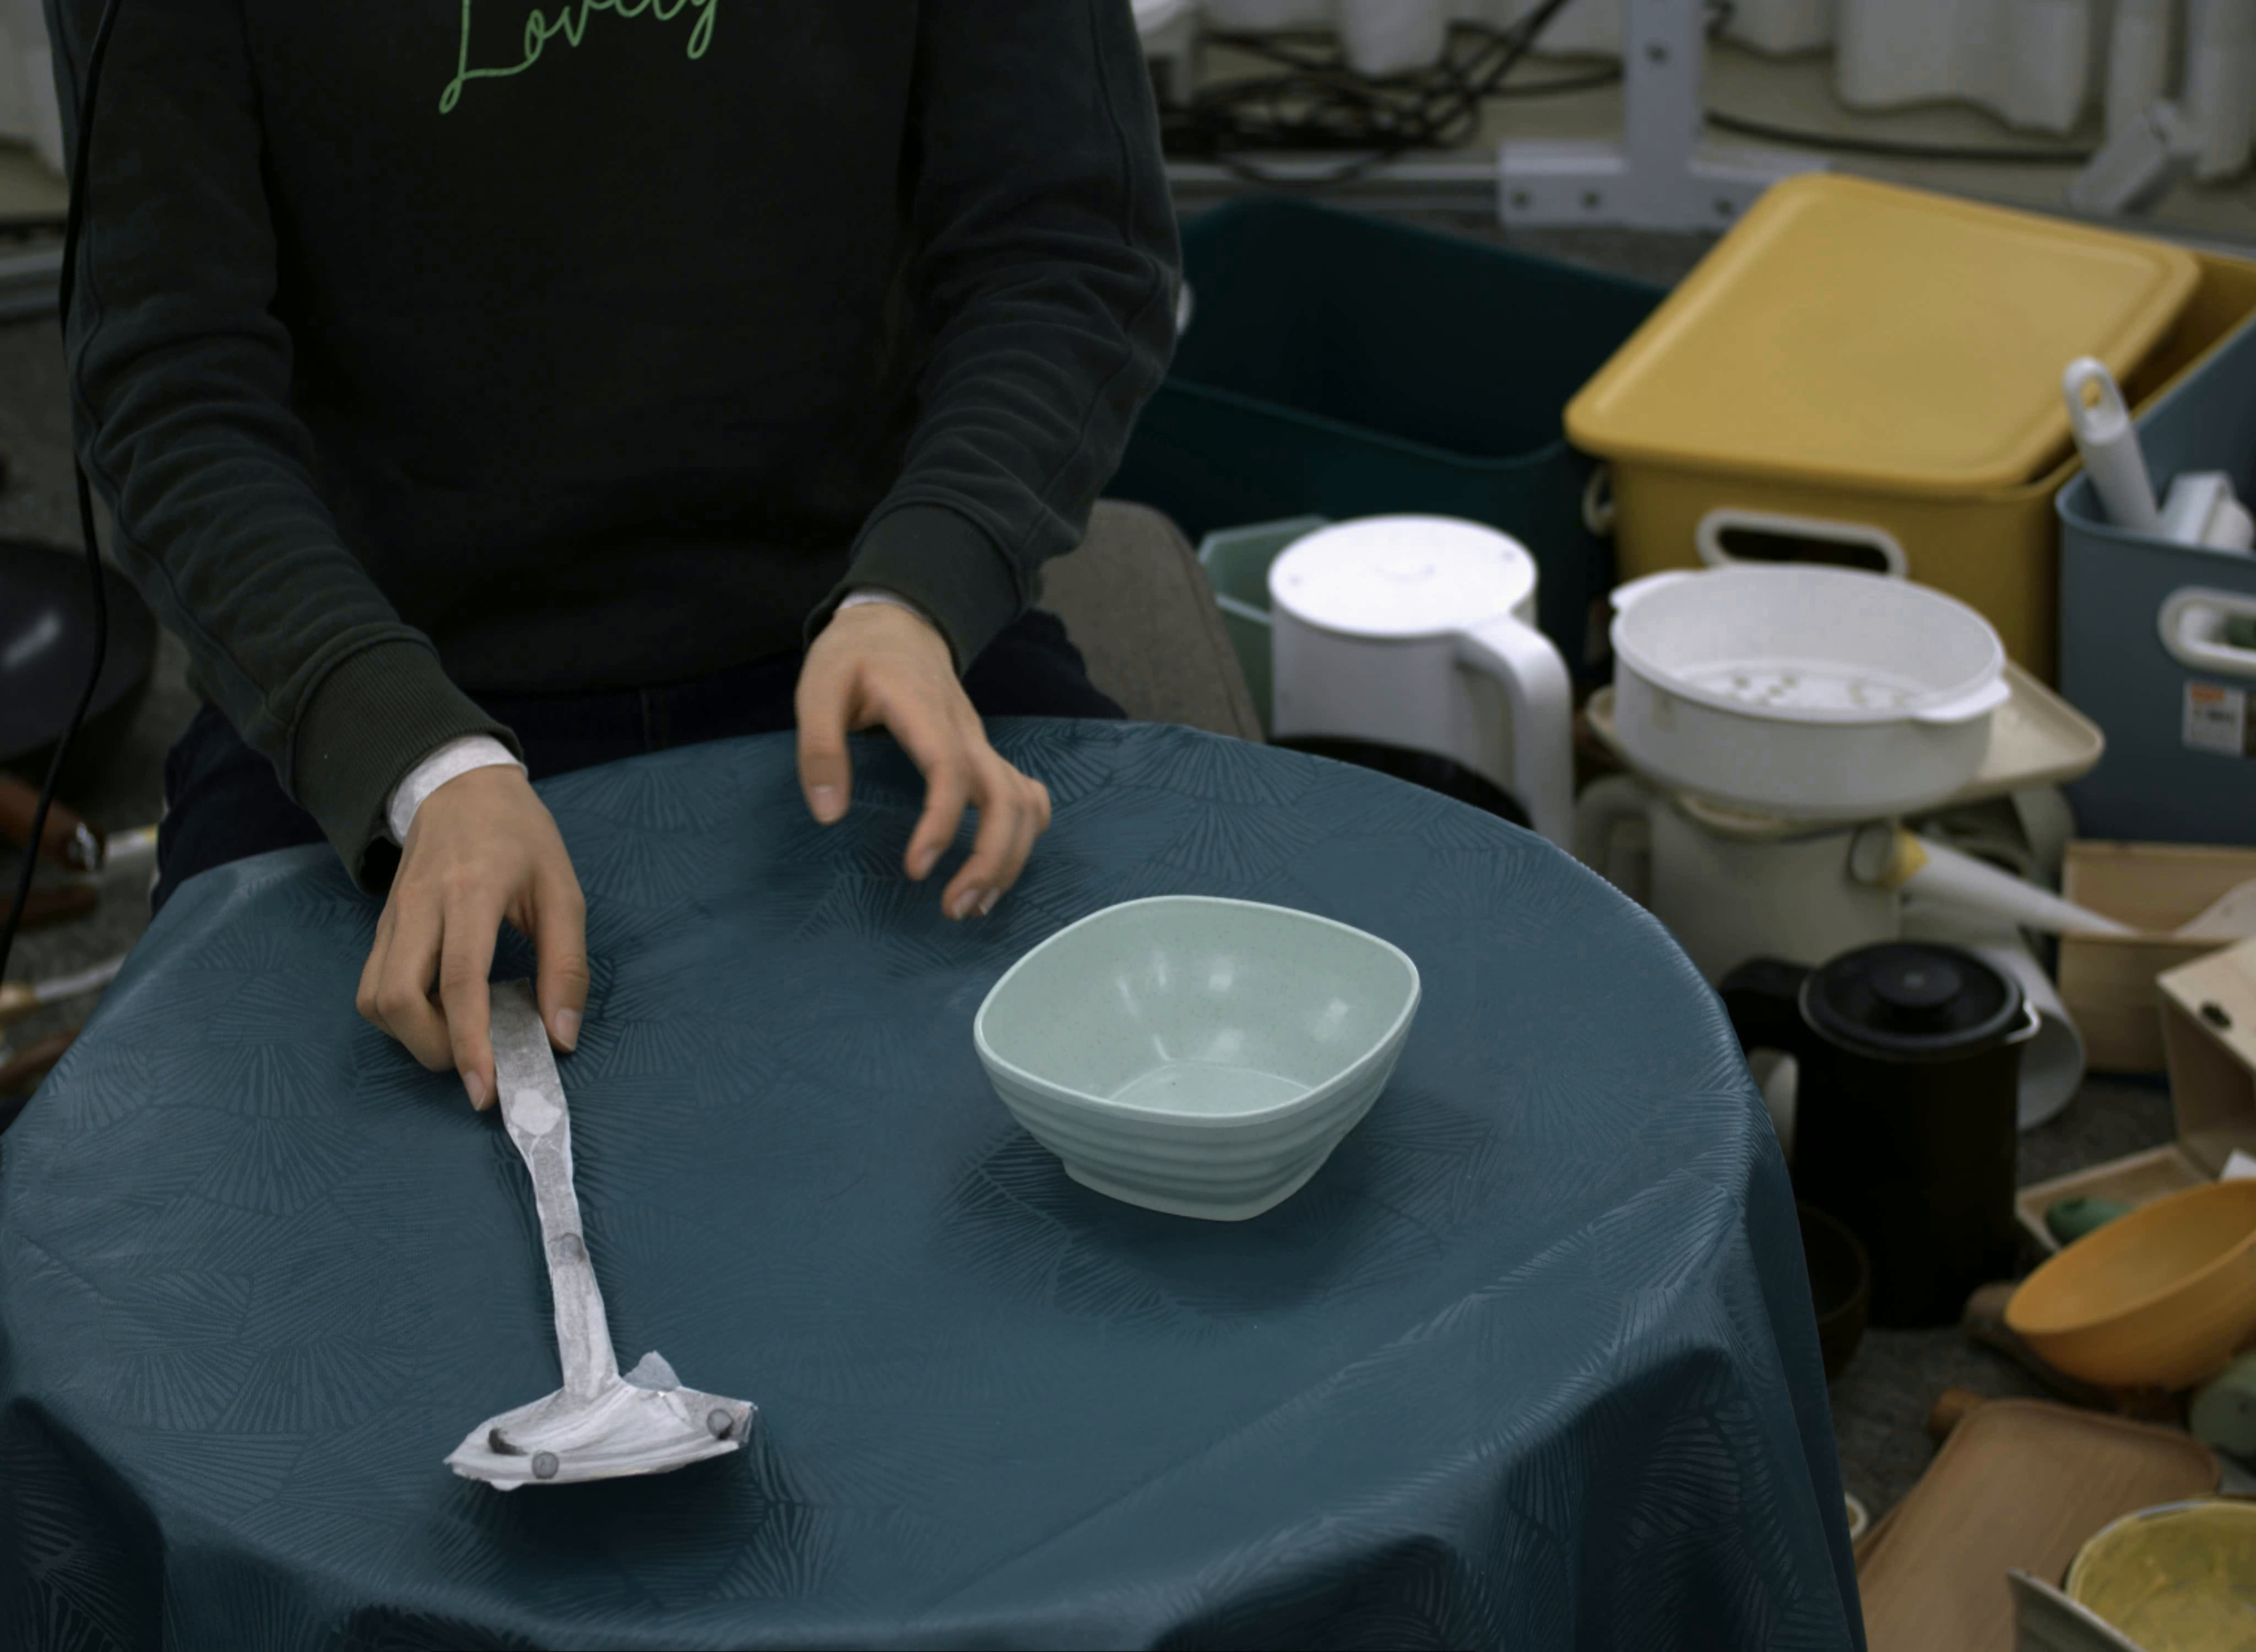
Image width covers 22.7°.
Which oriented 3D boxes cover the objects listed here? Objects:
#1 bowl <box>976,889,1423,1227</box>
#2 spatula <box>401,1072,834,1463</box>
[{"bbox_3d":[0.025,0.084,1.873,0.151,0.058,0.154,-1,29,1],"label":"bowl"},{"bbox_3d":[-0.189,0.135,1.811,0.099,0.044,0.367,4,20,-22],"label":"spatula"}]
